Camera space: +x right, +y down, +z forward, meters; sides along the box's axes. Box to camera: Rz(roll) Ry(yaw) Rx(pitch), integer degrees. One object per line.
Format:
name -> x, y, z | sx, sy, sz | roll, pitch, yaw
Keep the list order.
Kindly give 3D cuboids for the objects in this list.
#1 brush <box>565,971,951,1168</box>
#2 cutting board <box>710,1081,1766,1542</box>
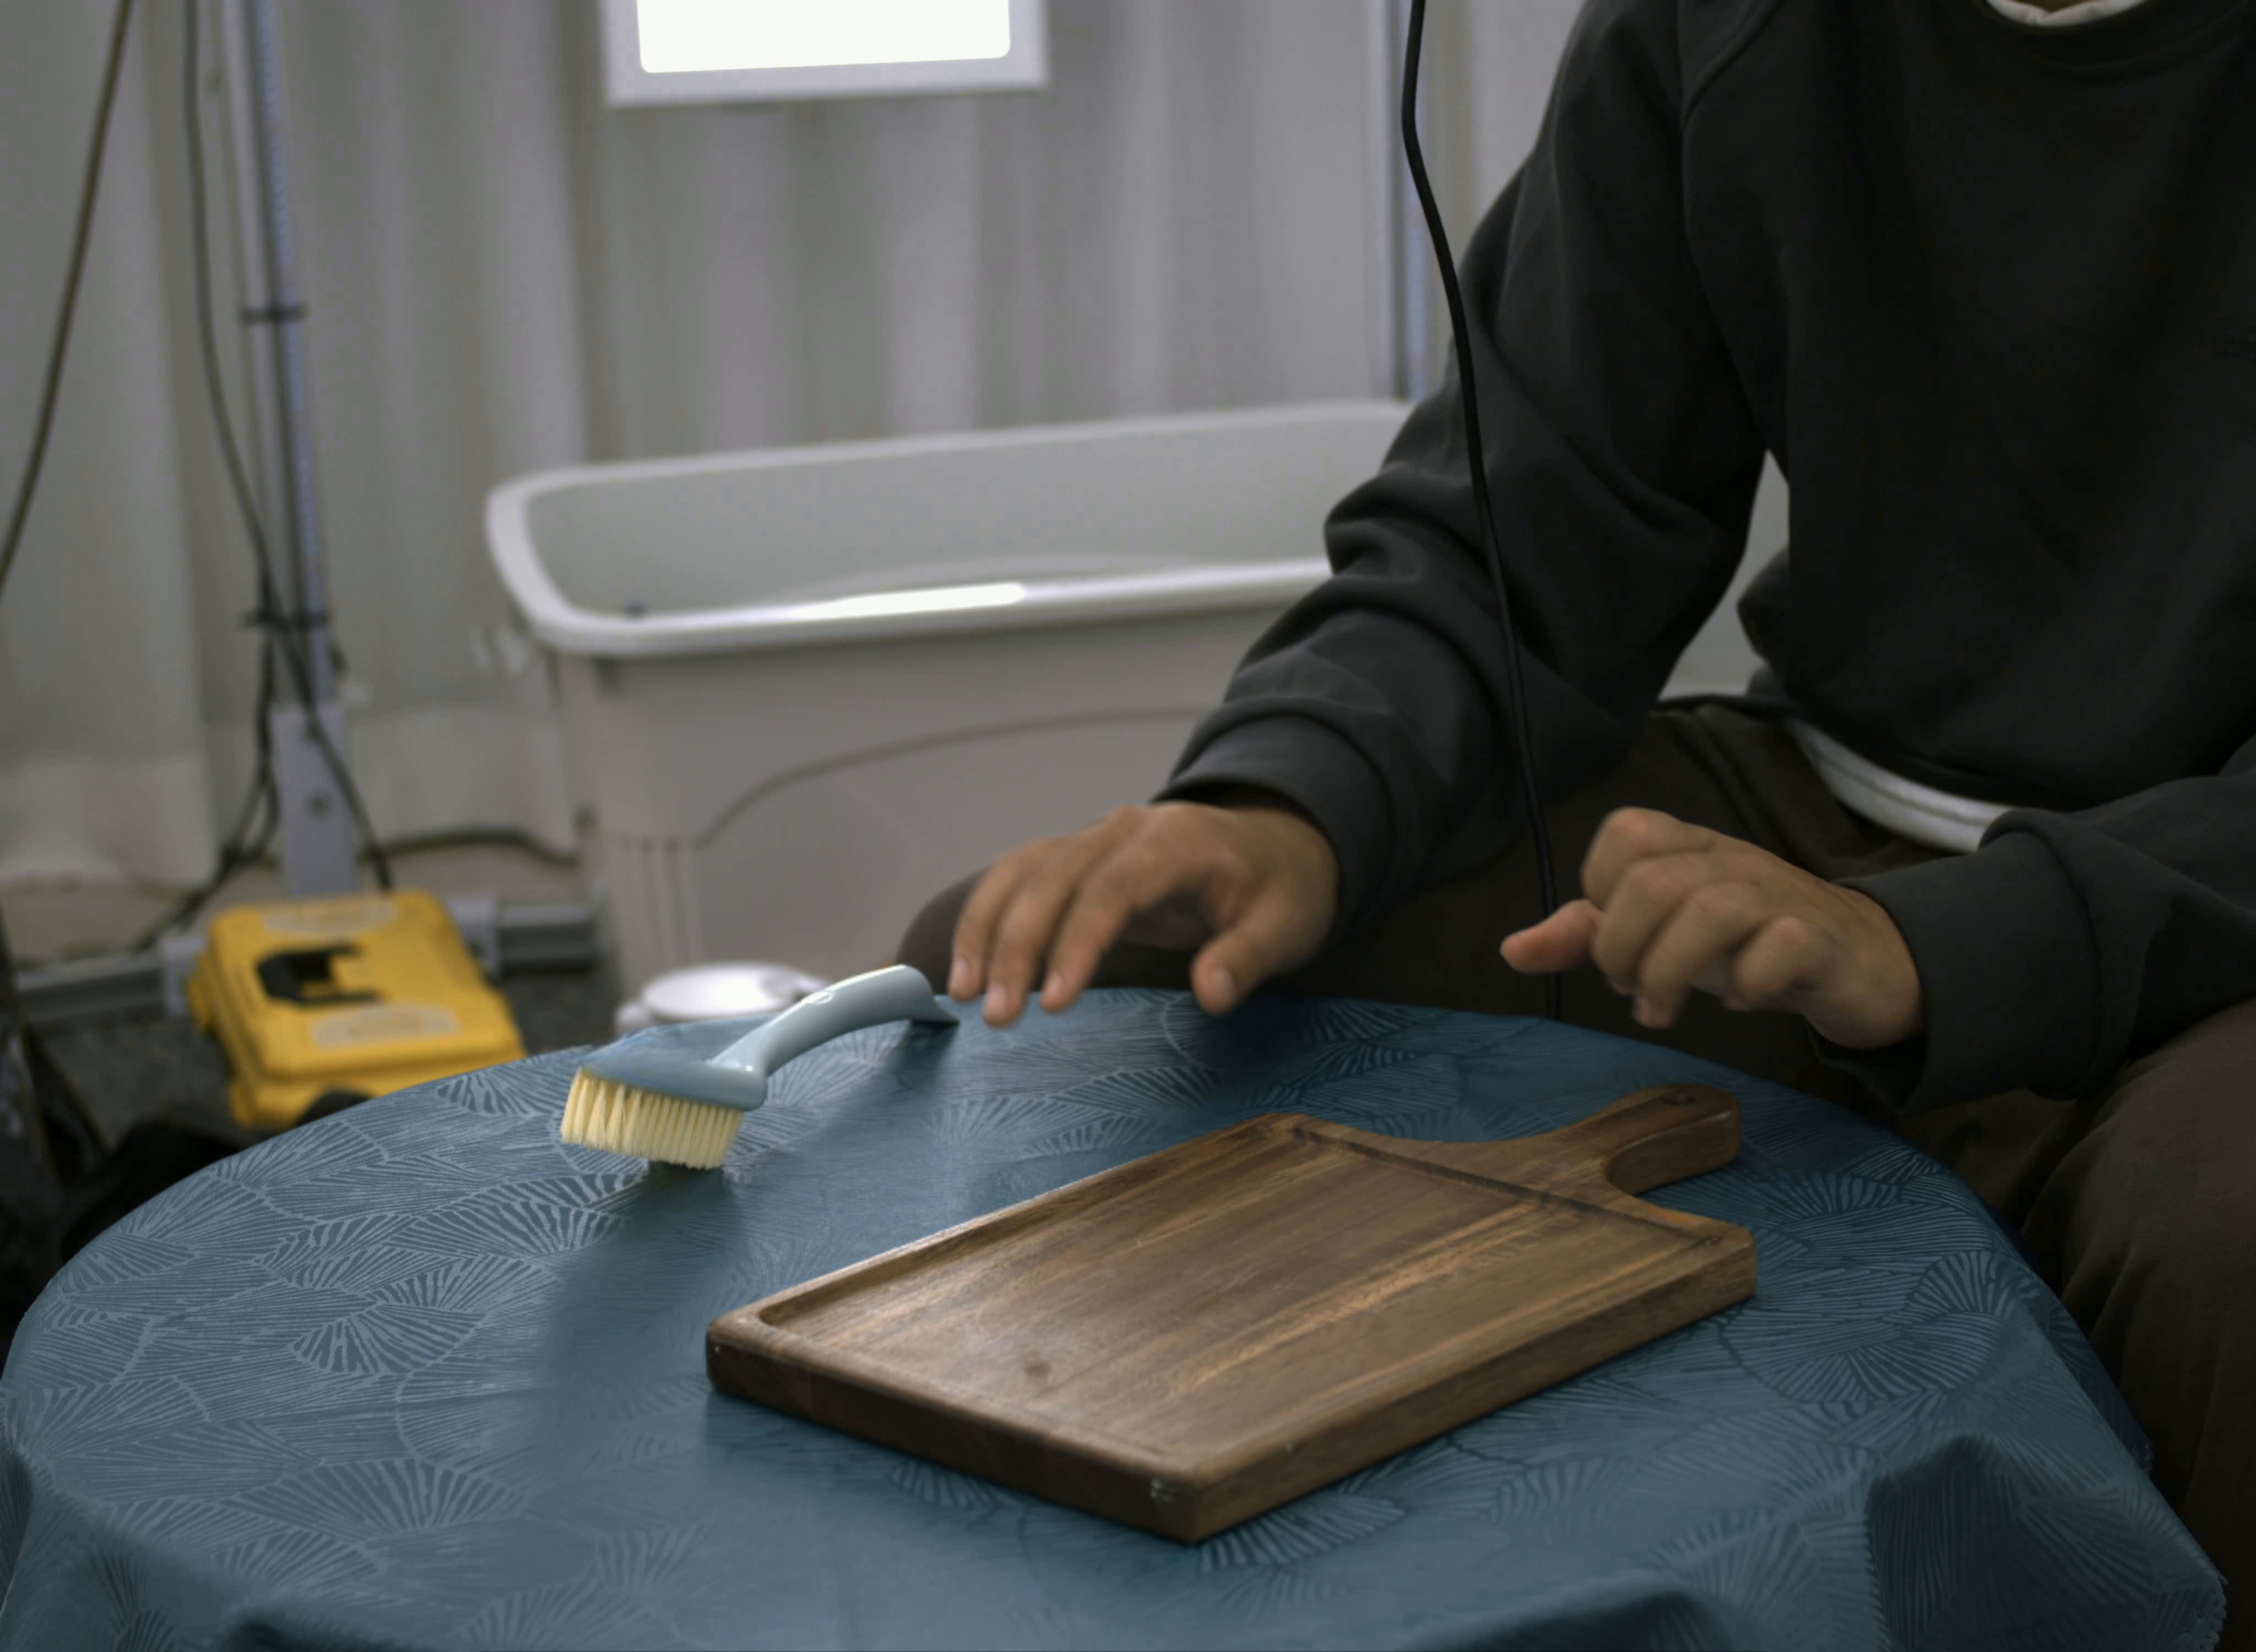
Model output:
brush -> -0.119, 0.081, 1.805 | 0.038, 0.049, 0.228 | 11, 10, 23
cutting board -> 0.068, 0.129, 1.613 | 0.202, 0.023, 0.351 | 12, 21, 43
